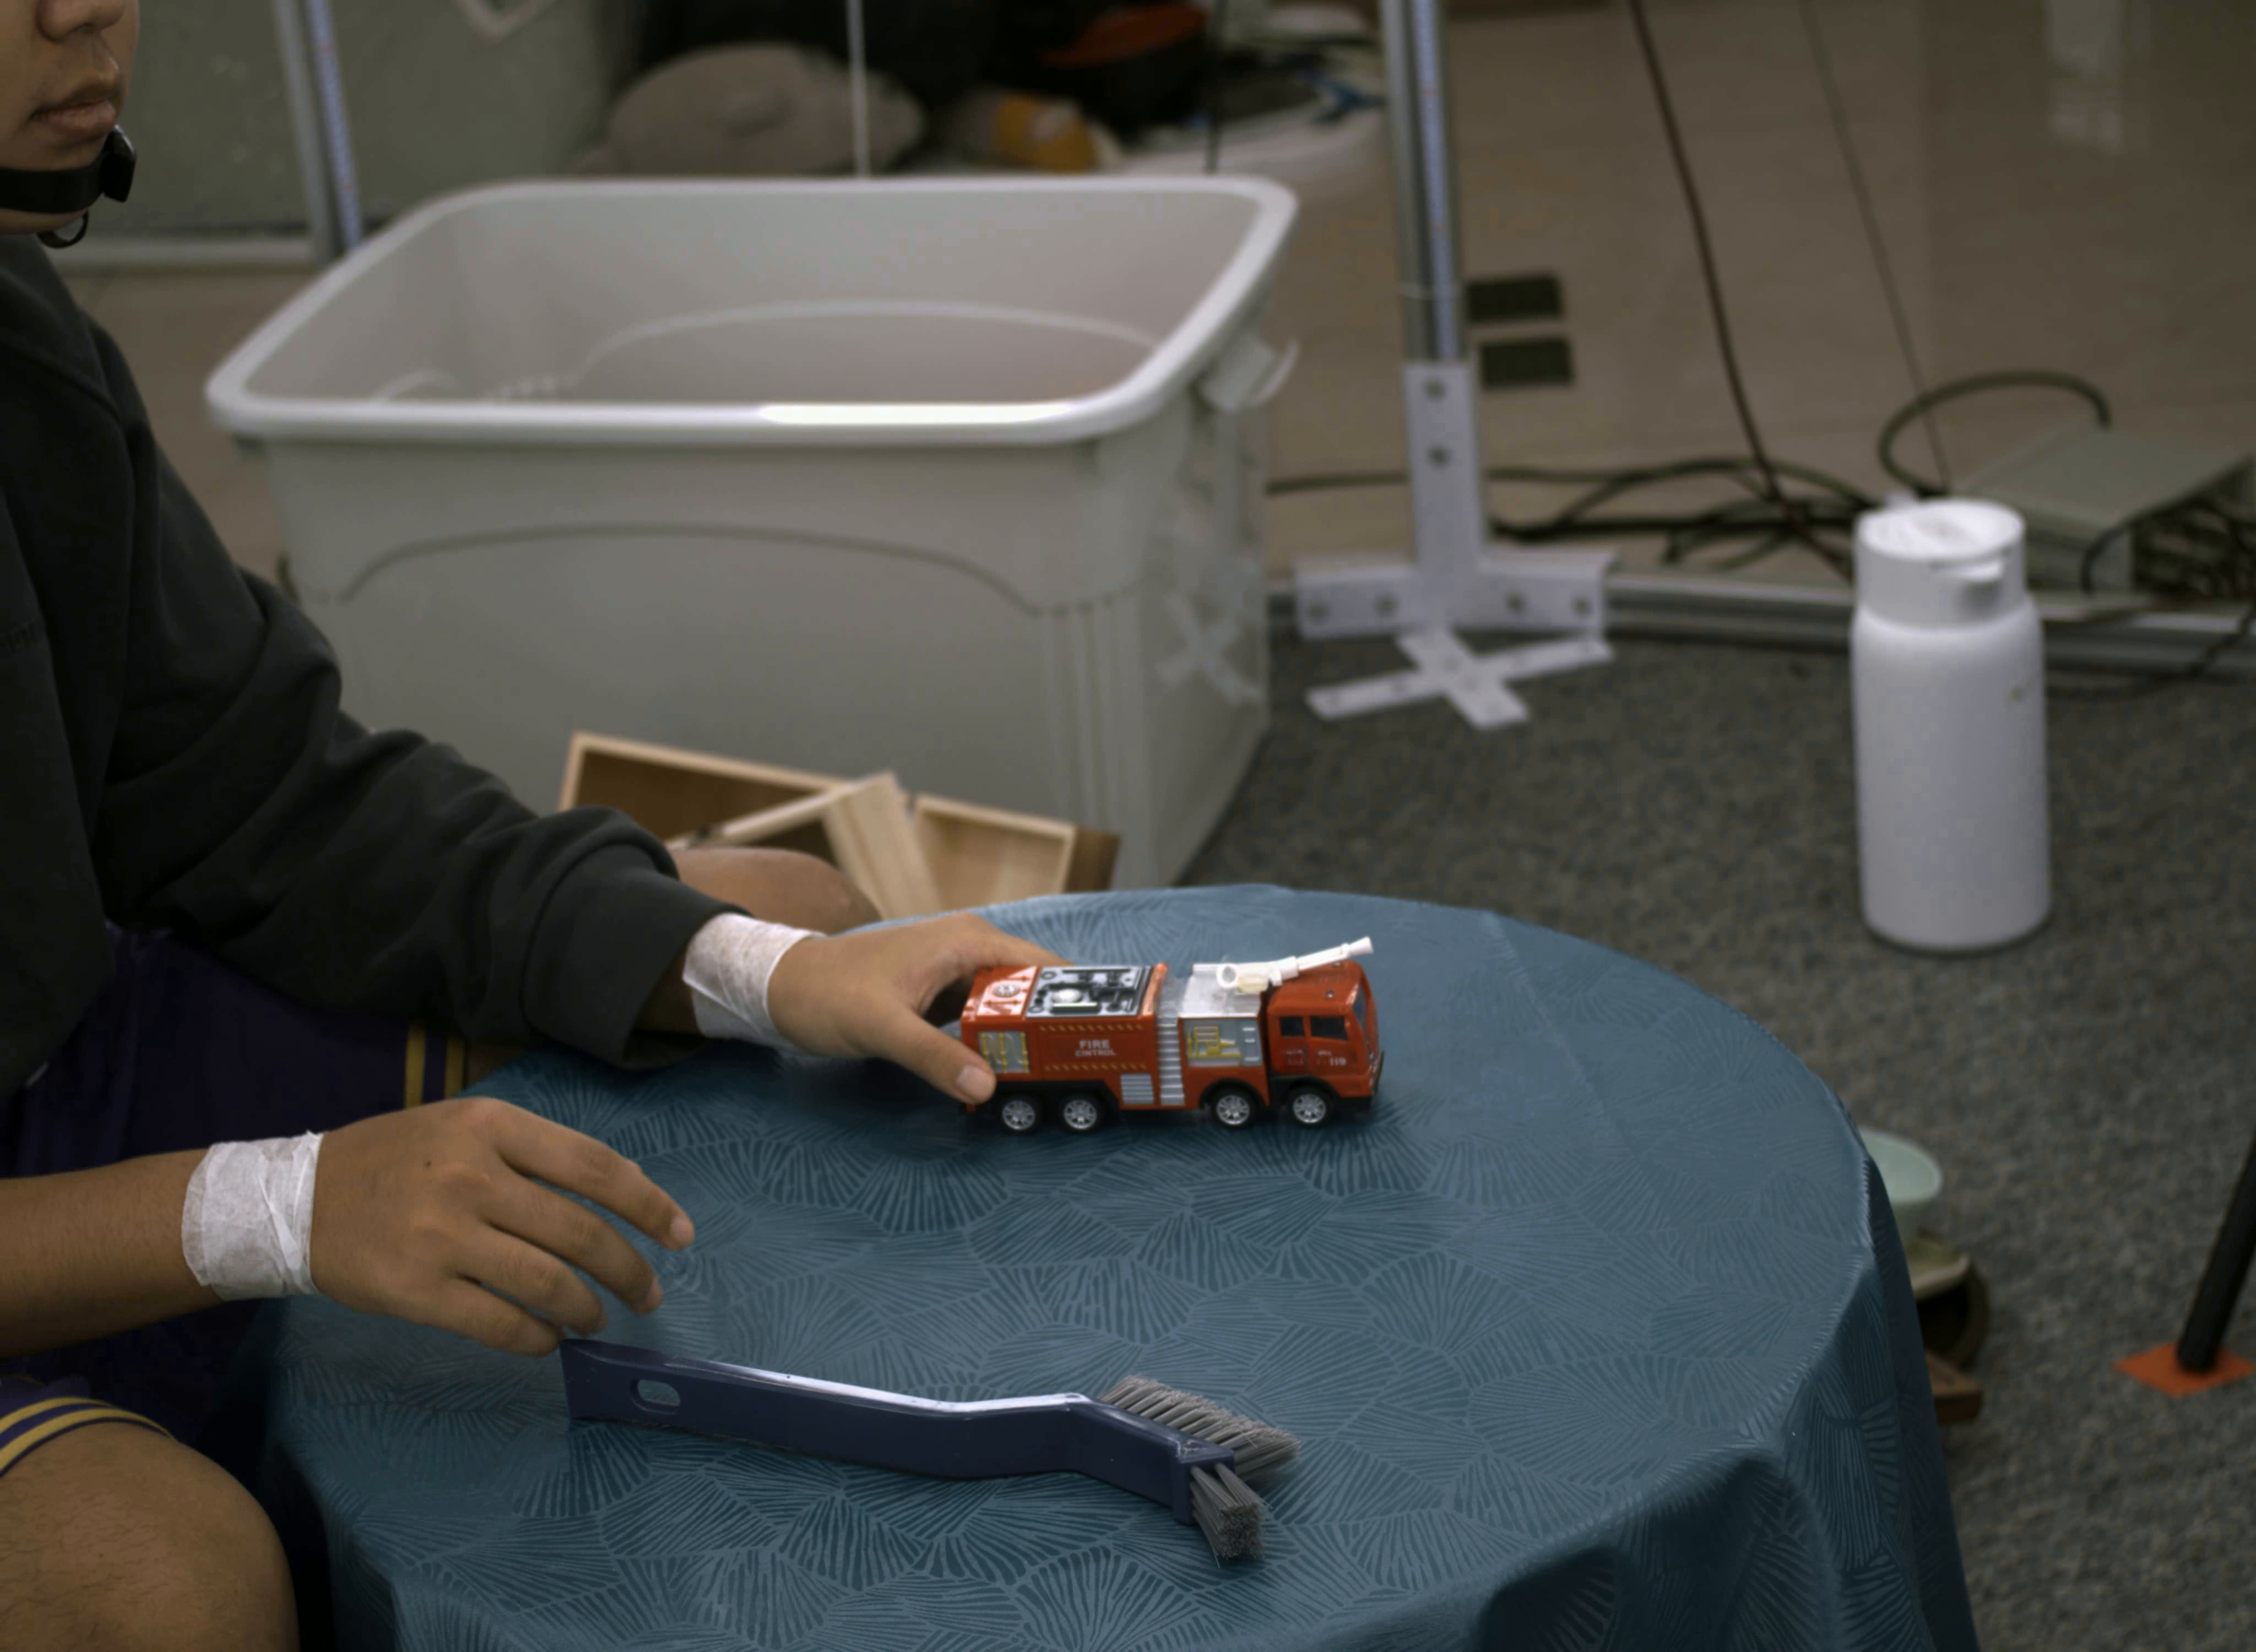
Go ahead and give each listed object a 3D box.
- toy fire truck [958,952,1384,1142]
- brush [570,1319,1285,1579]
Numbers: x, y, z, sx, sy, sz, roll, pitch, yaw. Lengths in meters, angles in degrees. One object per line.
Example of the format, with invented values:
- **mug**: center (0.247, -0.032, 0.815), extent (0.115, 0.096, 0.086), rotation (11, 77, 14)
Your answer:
- **toy fire truck**: center (0.017, 0.083, 2.192), extent (0.167, 0.071, 0.053), rotation (-3, 26, 10)
- **brush**: center (-0.079, 0.212, 1.972), extent (0.272, 0.034, 0.094), rotation (3, 28, 19)
